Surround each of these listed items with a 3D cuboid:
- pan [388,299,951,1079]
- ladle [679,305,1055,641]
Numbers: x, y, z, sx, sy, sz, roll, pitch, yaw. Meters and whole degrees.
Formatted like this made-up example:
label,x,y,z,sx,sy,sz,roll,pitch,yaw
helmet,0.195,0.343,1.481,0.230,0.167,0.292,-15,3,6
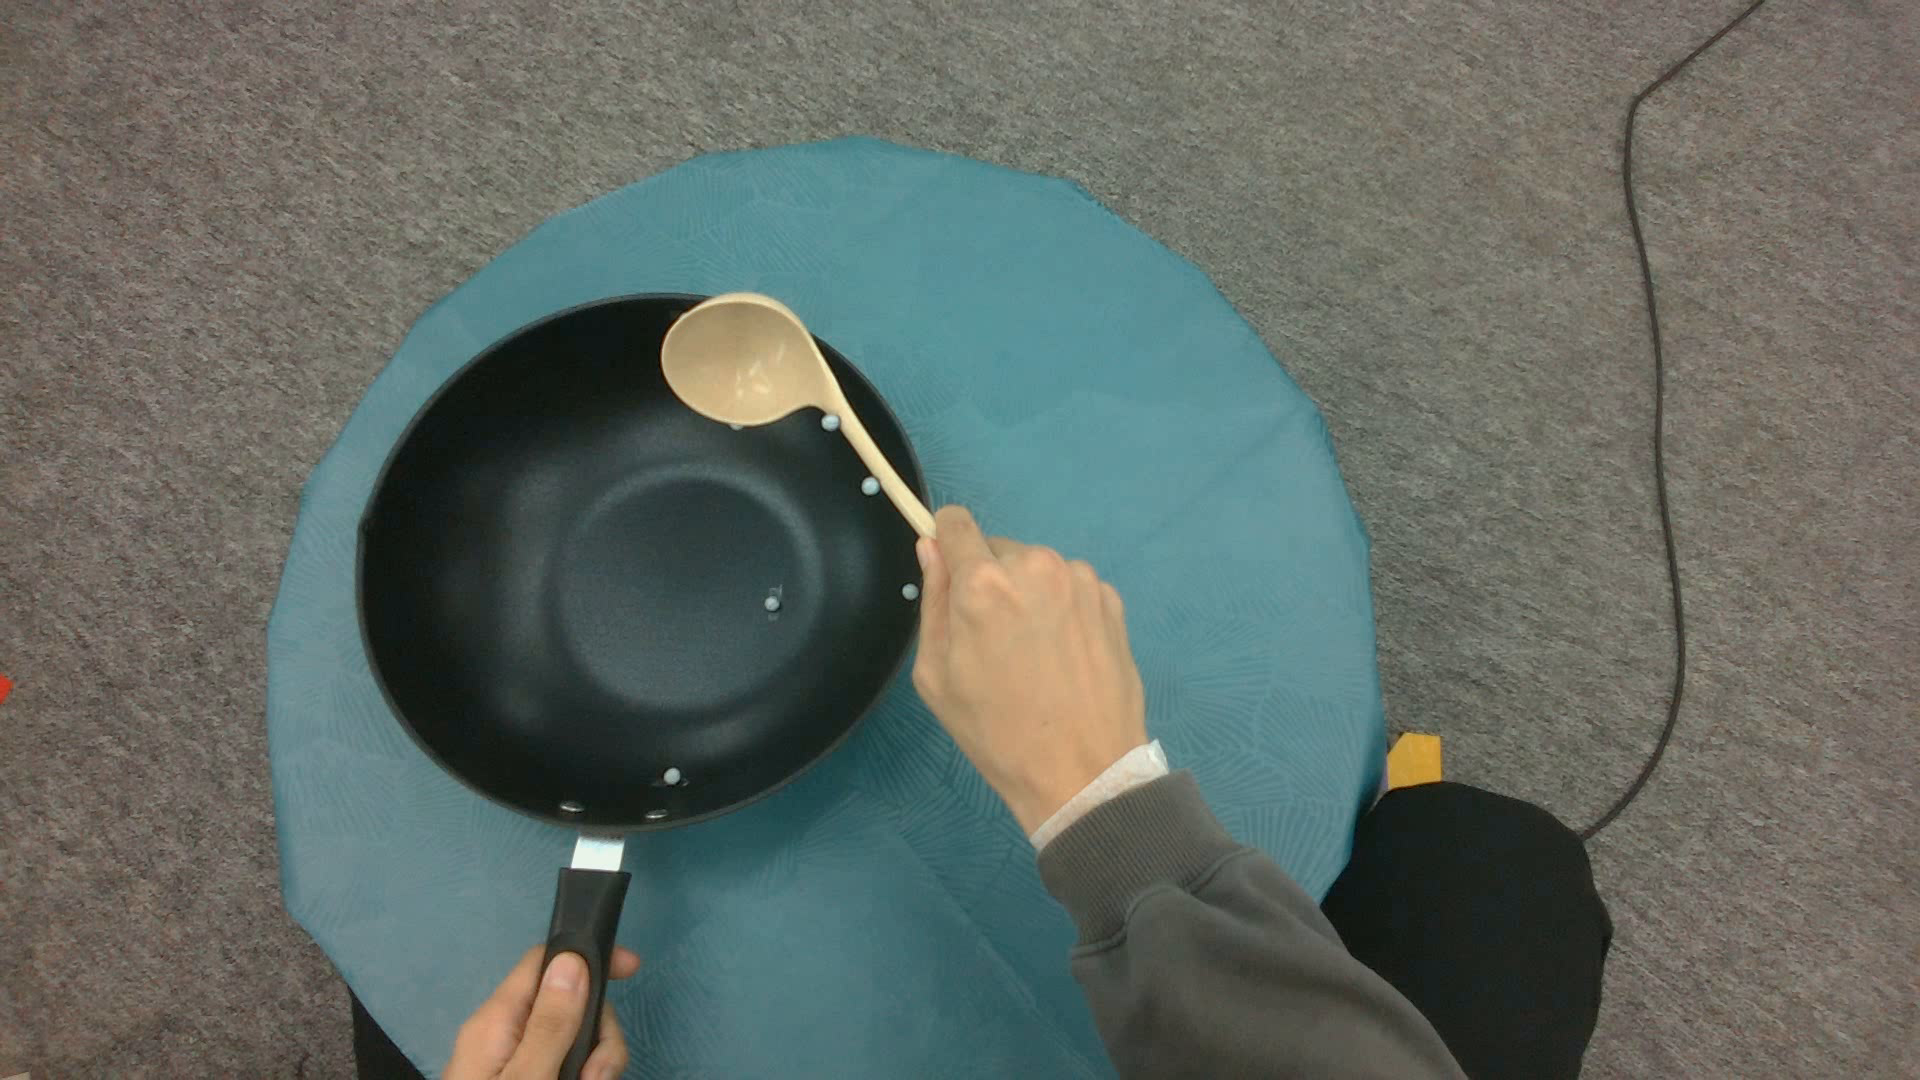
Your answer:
label,x,y,z,sx,sy,sz,roll,pitch,yaw
pan,-0.155,0.103,0.700,0.288,0.086,0.464,5,72,3
ladle,-0.054,-0.030,0.640,0.073,0.072,0.255,-2,35,-36
